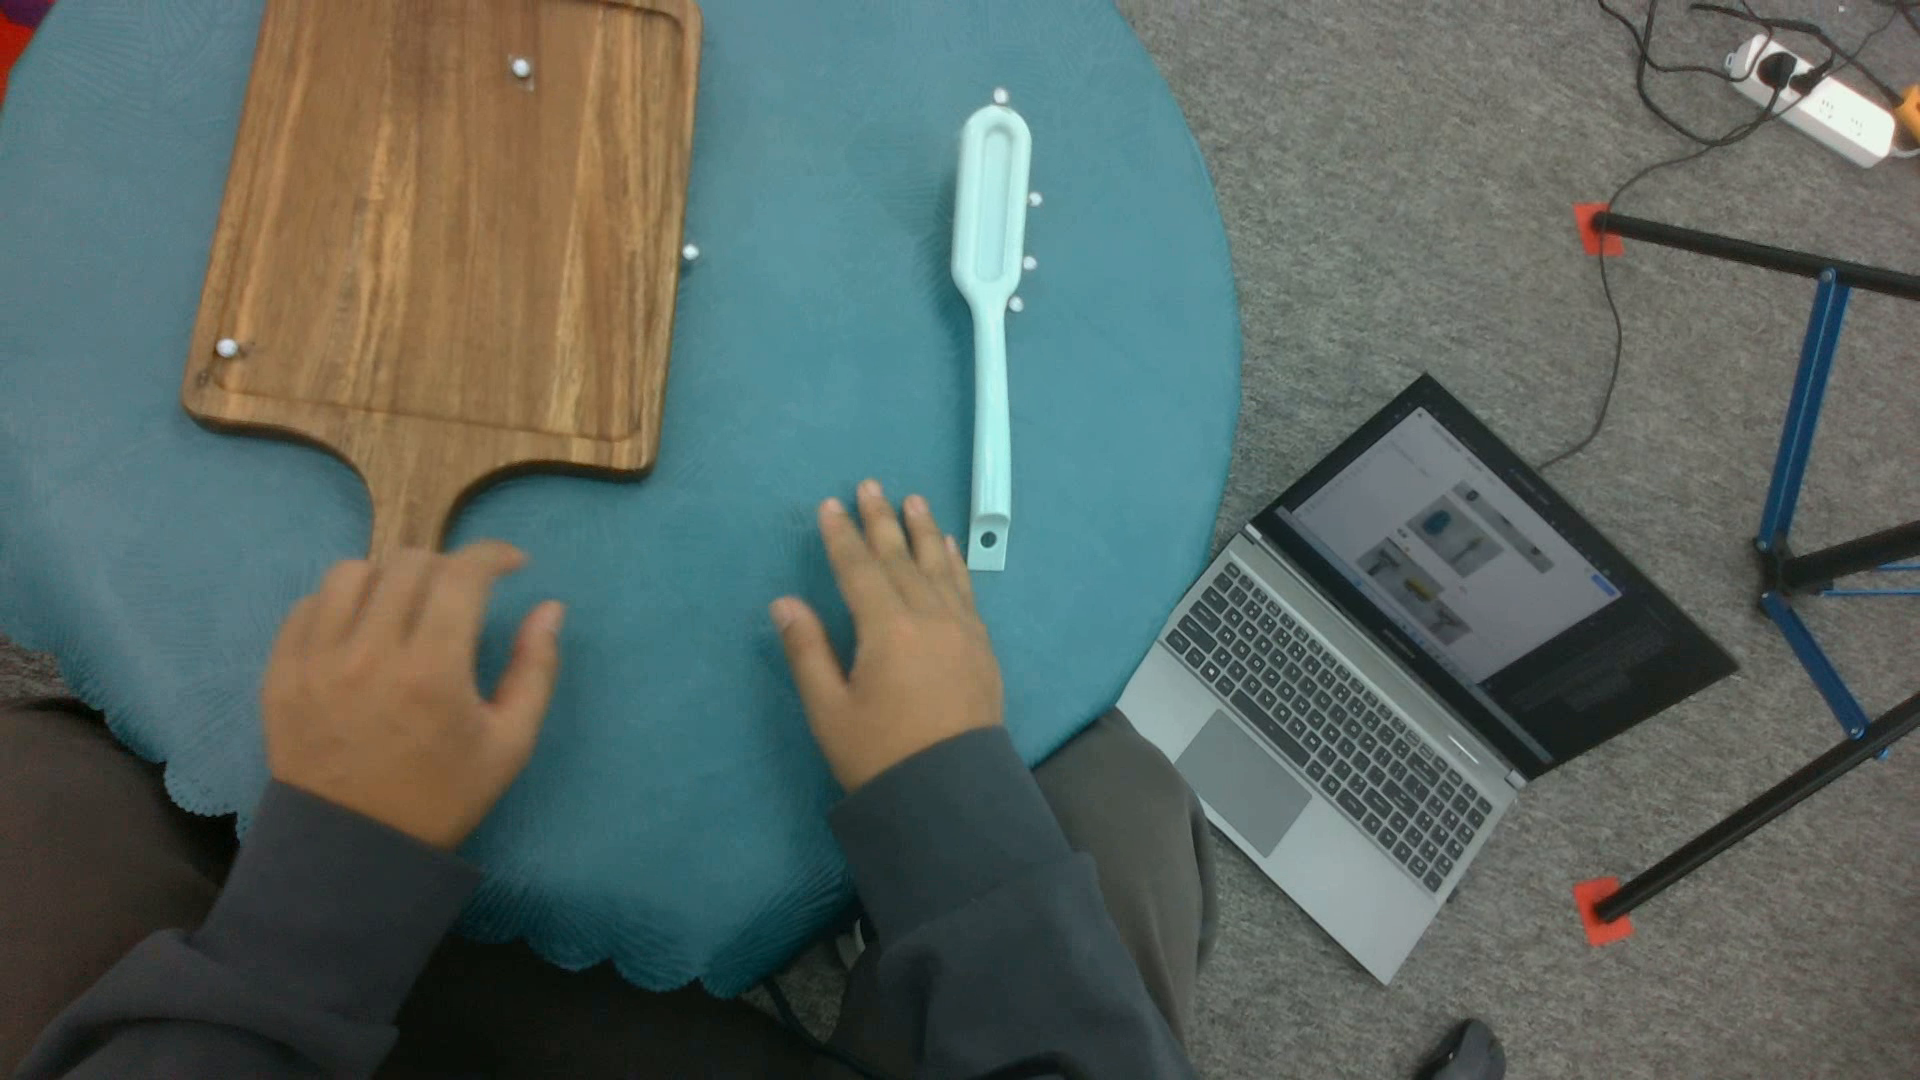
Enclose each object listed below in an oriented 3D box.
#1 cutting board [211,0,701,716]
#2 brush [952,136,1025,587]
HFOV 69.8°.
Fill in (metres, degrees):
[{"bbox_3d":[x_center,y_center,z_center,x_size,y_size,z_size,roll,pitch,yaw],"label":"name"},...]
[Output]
[{"bbox_3d":[-0.233,-0.094,0.649,0.201,0.023,0.353,5,73,-12],"label":"cutting board"},{"bbox_3d":[0.017,-0.090,0.704,0.038,0.049,0.229,-2,83,-12],"label":"brush"}]
